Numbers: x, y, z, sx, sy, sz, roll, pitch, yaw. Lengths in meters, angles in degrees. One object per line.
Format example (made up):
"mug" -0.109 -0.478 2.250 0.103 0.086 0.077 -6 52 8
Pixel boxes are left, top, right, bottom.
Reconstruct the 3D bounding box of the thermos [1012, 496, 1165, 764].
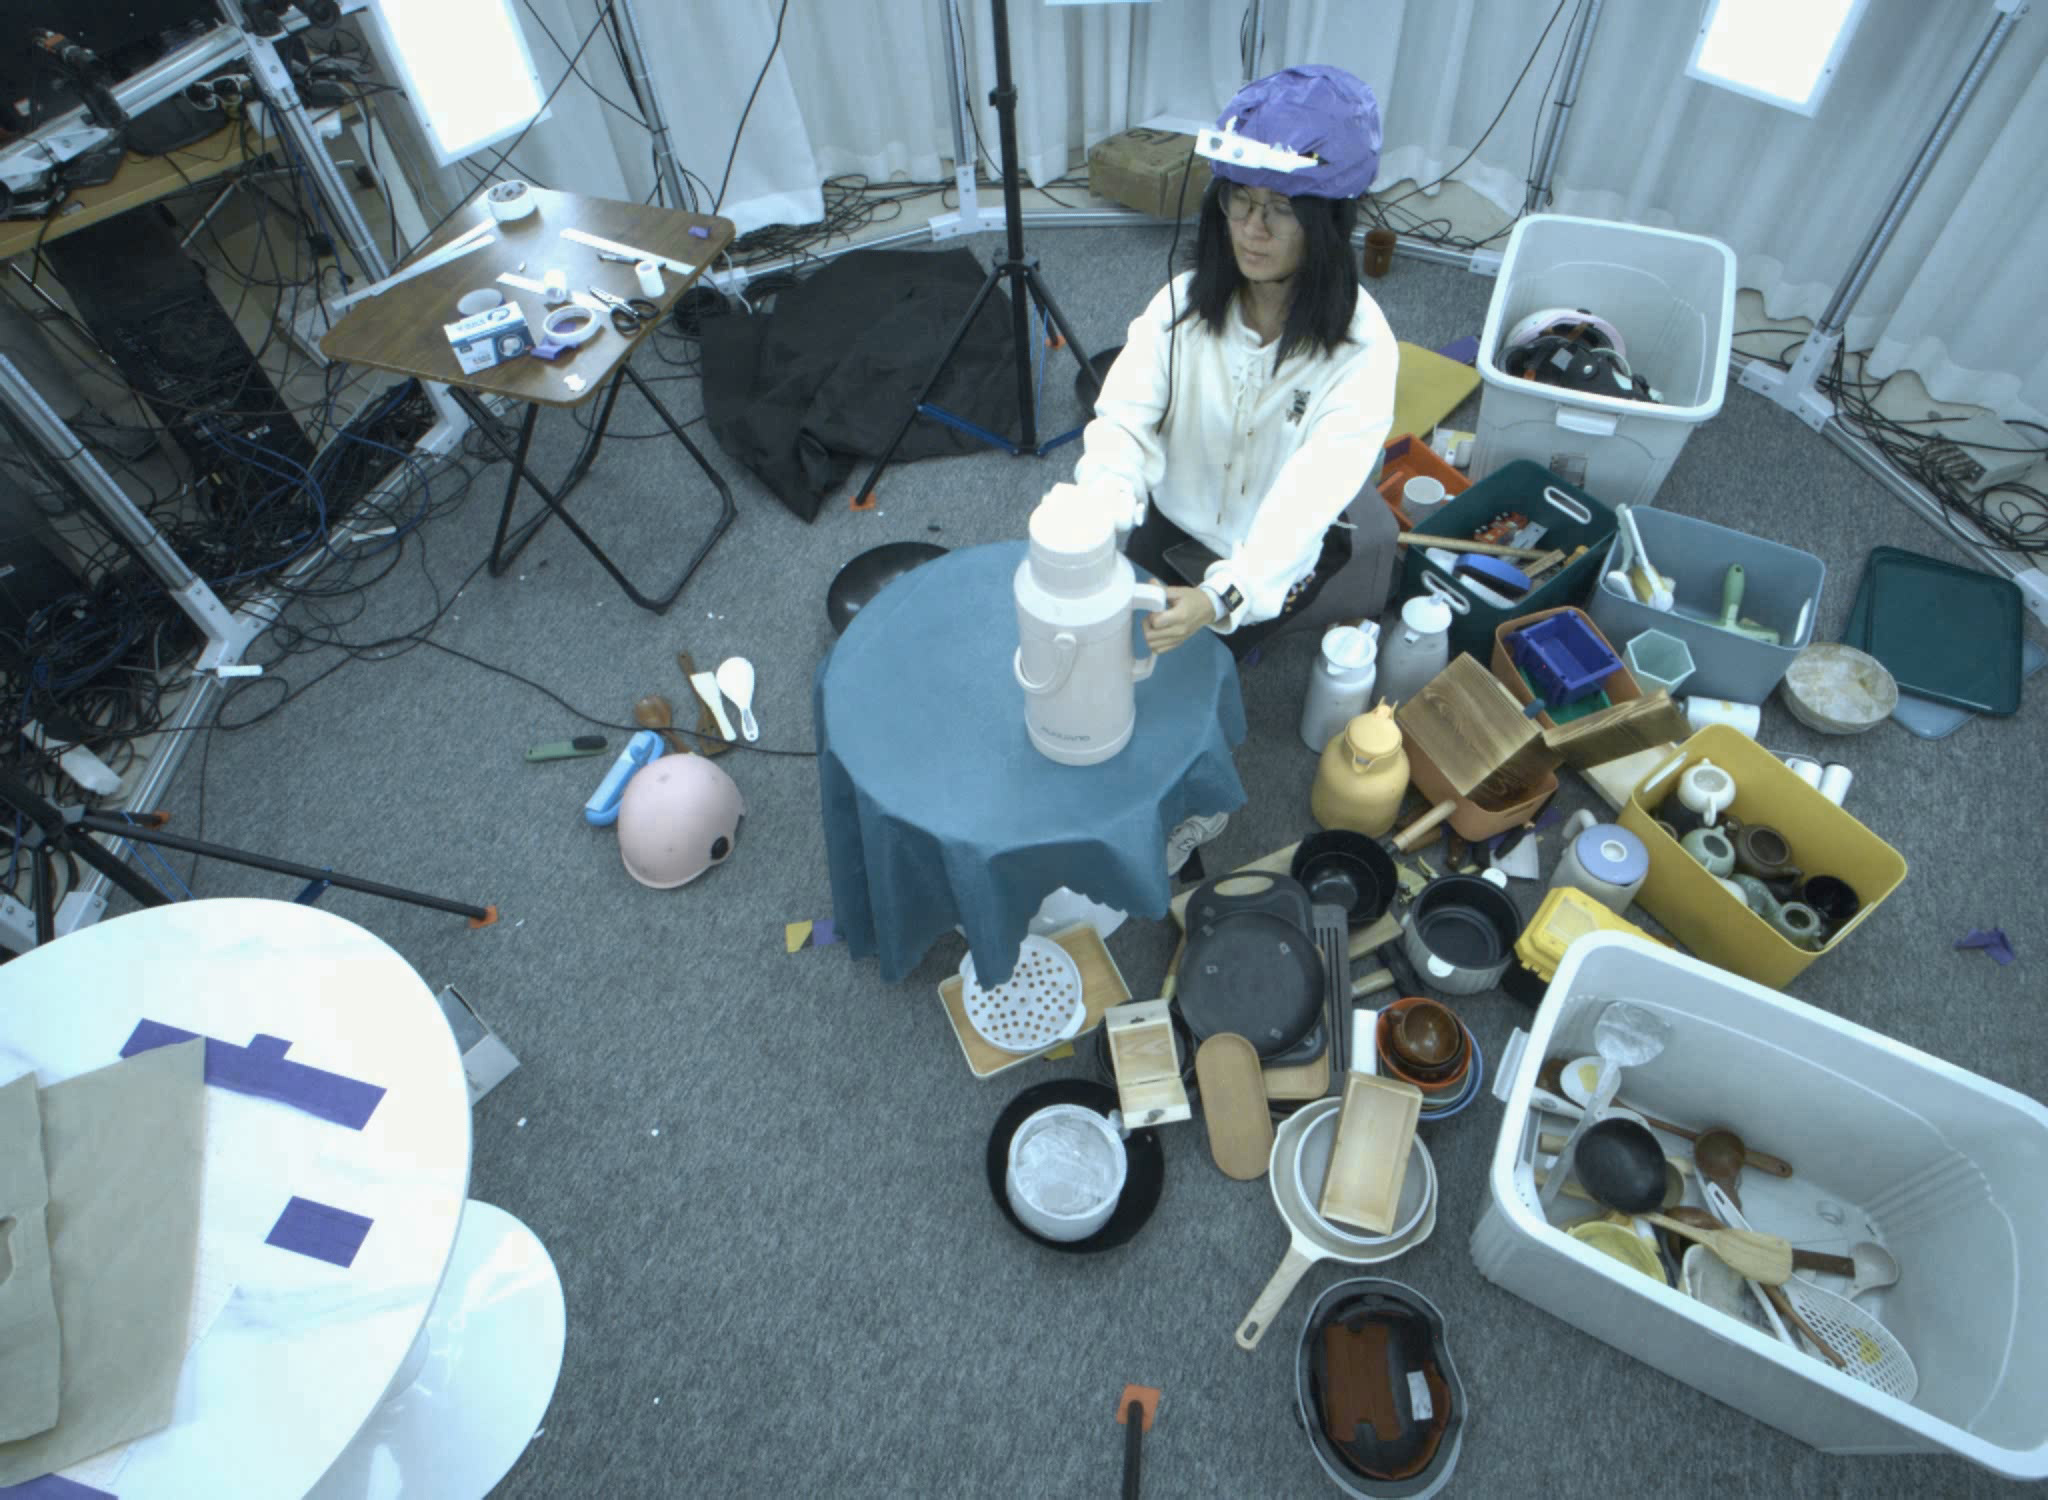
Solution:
"thermos" 0.082 -0.155 1.651 0.206 0.411 0.174 6 55 7

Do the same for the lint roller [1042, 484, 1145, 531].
"lint roller" 0.103 -0.321 1.633 0.132 0.182 0.050 11 102 11
